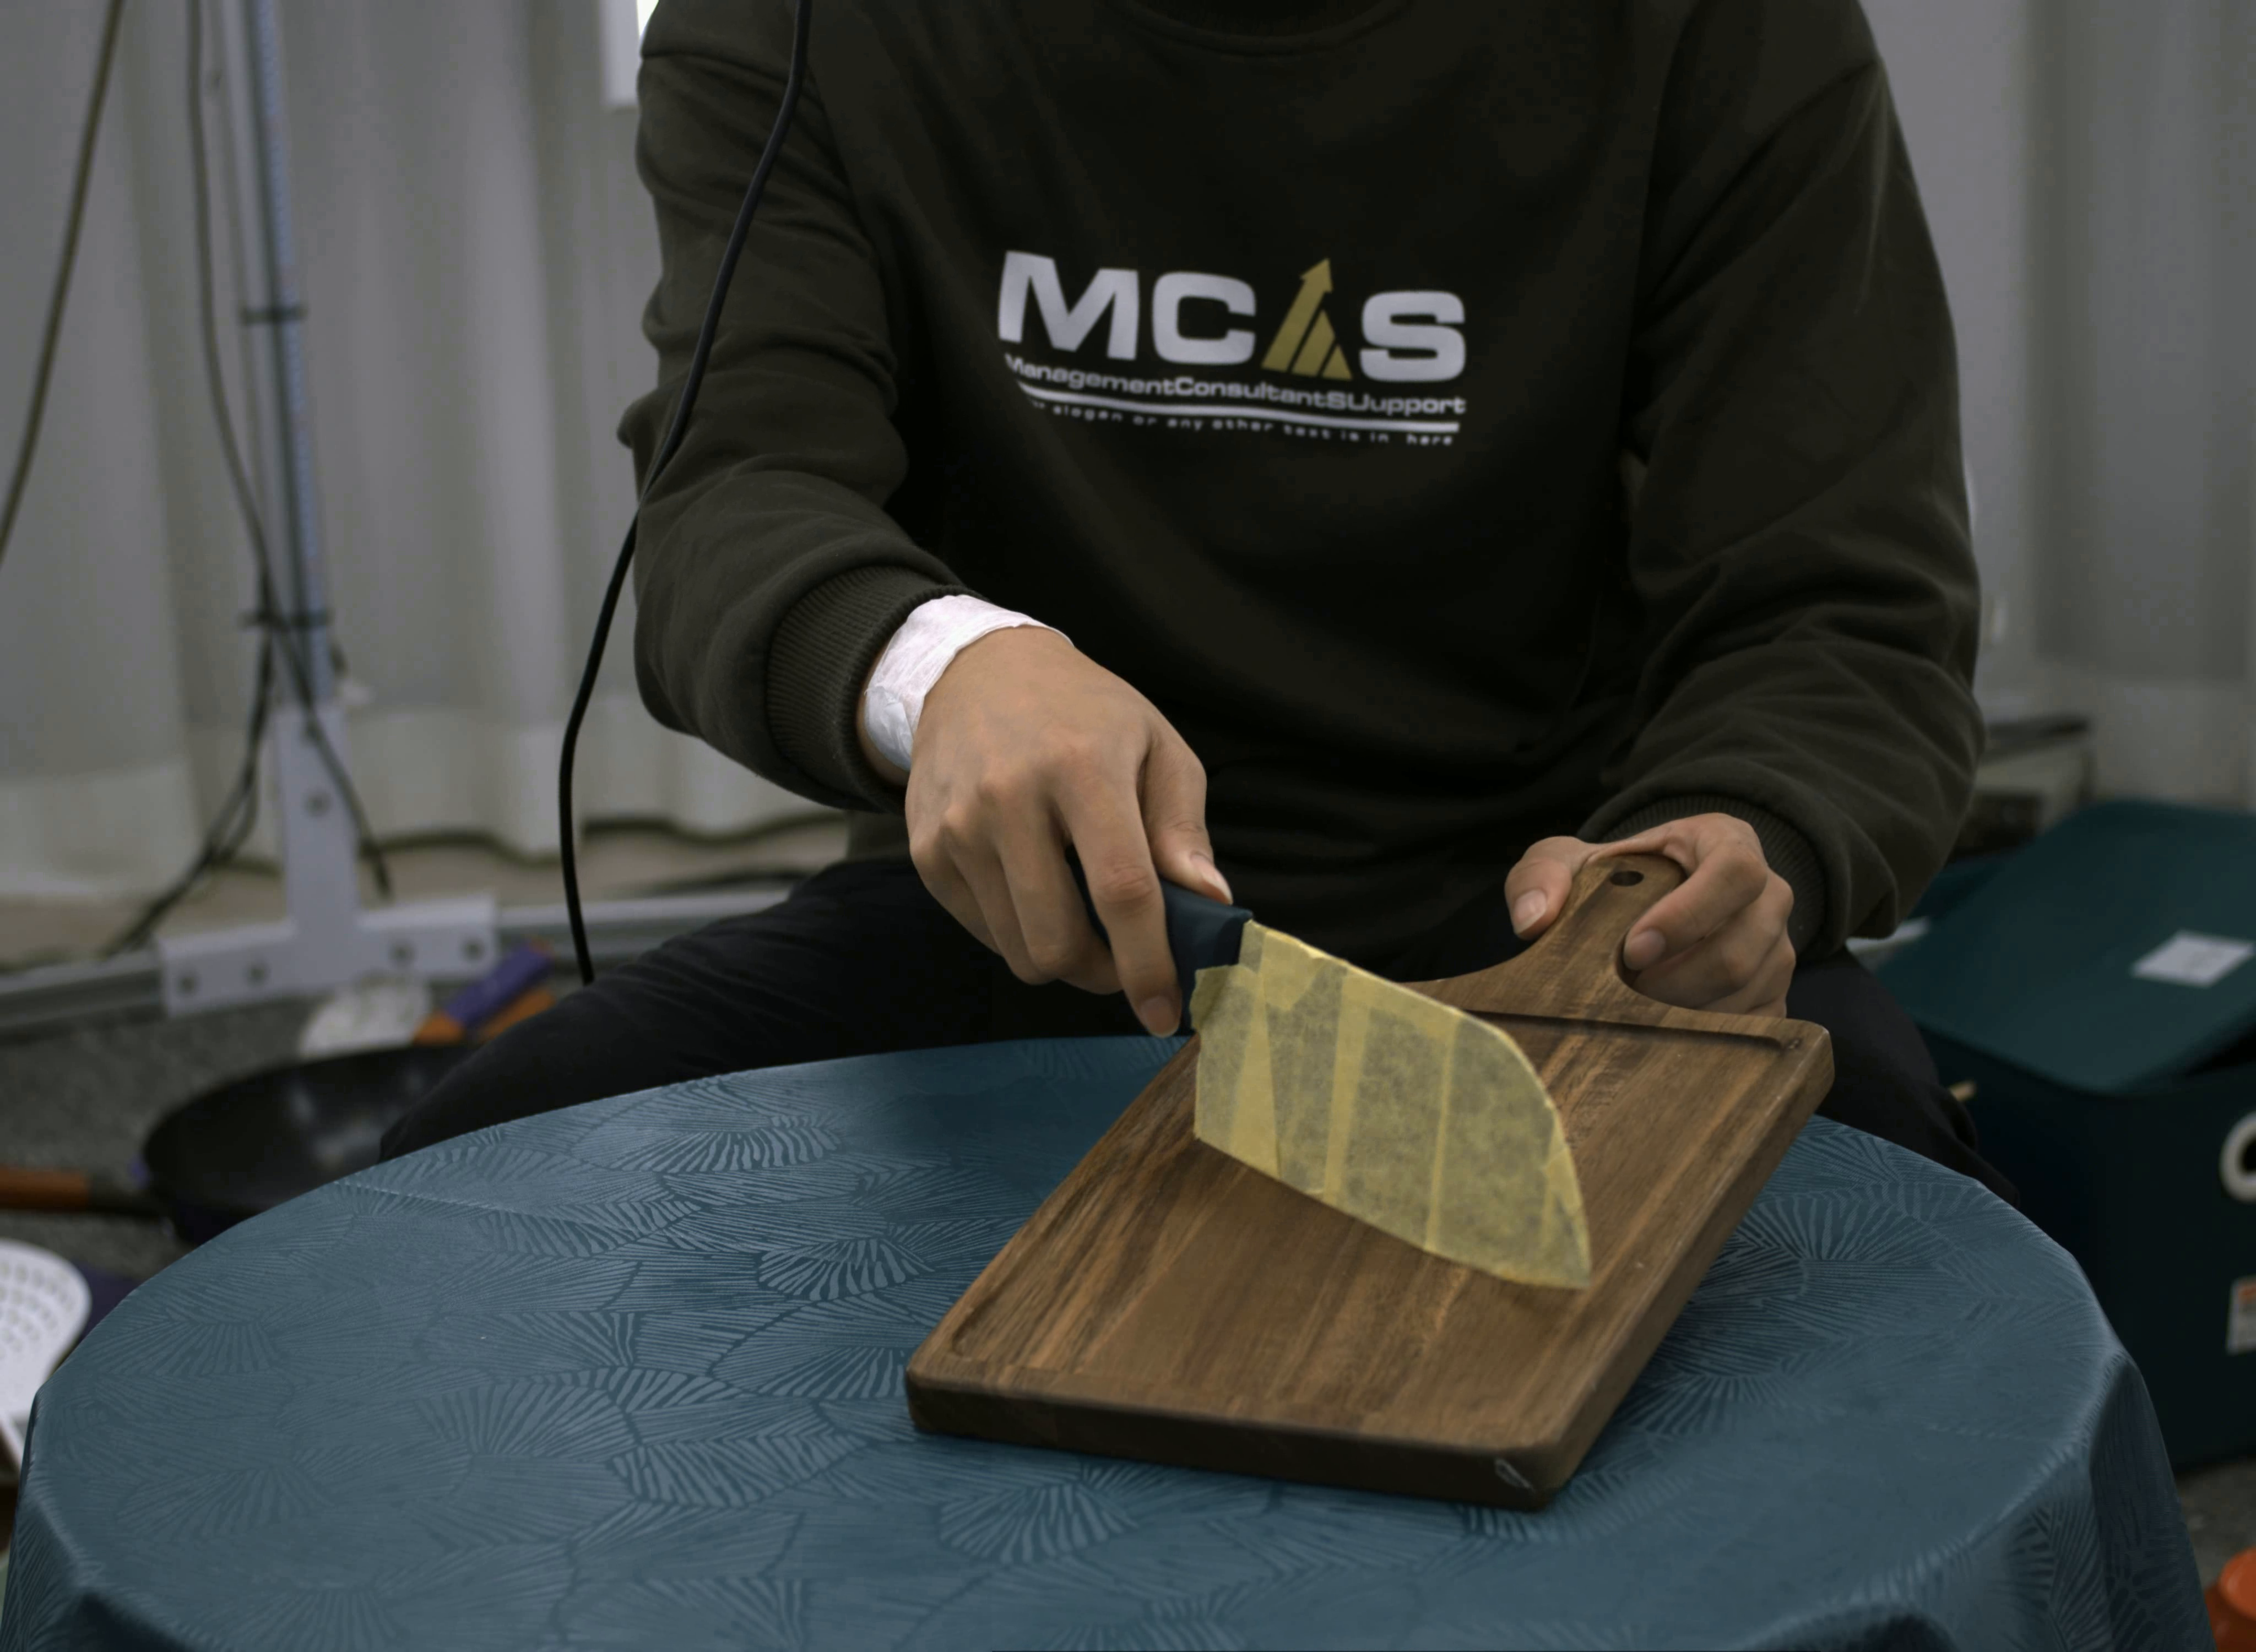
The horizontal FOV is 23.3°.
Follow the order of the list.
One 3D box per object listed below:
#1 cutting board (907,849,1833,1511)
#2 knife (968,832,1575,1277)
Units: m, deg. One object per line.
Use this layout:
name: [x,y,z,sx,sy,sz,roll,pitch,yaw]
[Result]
cutting board: [0.094,0.092,1.617,0.201,0.023,0.354,4,27,25]
knife: [0.038,0.063,1.600,0.027,0.081,0.292,-2,19,-37]
